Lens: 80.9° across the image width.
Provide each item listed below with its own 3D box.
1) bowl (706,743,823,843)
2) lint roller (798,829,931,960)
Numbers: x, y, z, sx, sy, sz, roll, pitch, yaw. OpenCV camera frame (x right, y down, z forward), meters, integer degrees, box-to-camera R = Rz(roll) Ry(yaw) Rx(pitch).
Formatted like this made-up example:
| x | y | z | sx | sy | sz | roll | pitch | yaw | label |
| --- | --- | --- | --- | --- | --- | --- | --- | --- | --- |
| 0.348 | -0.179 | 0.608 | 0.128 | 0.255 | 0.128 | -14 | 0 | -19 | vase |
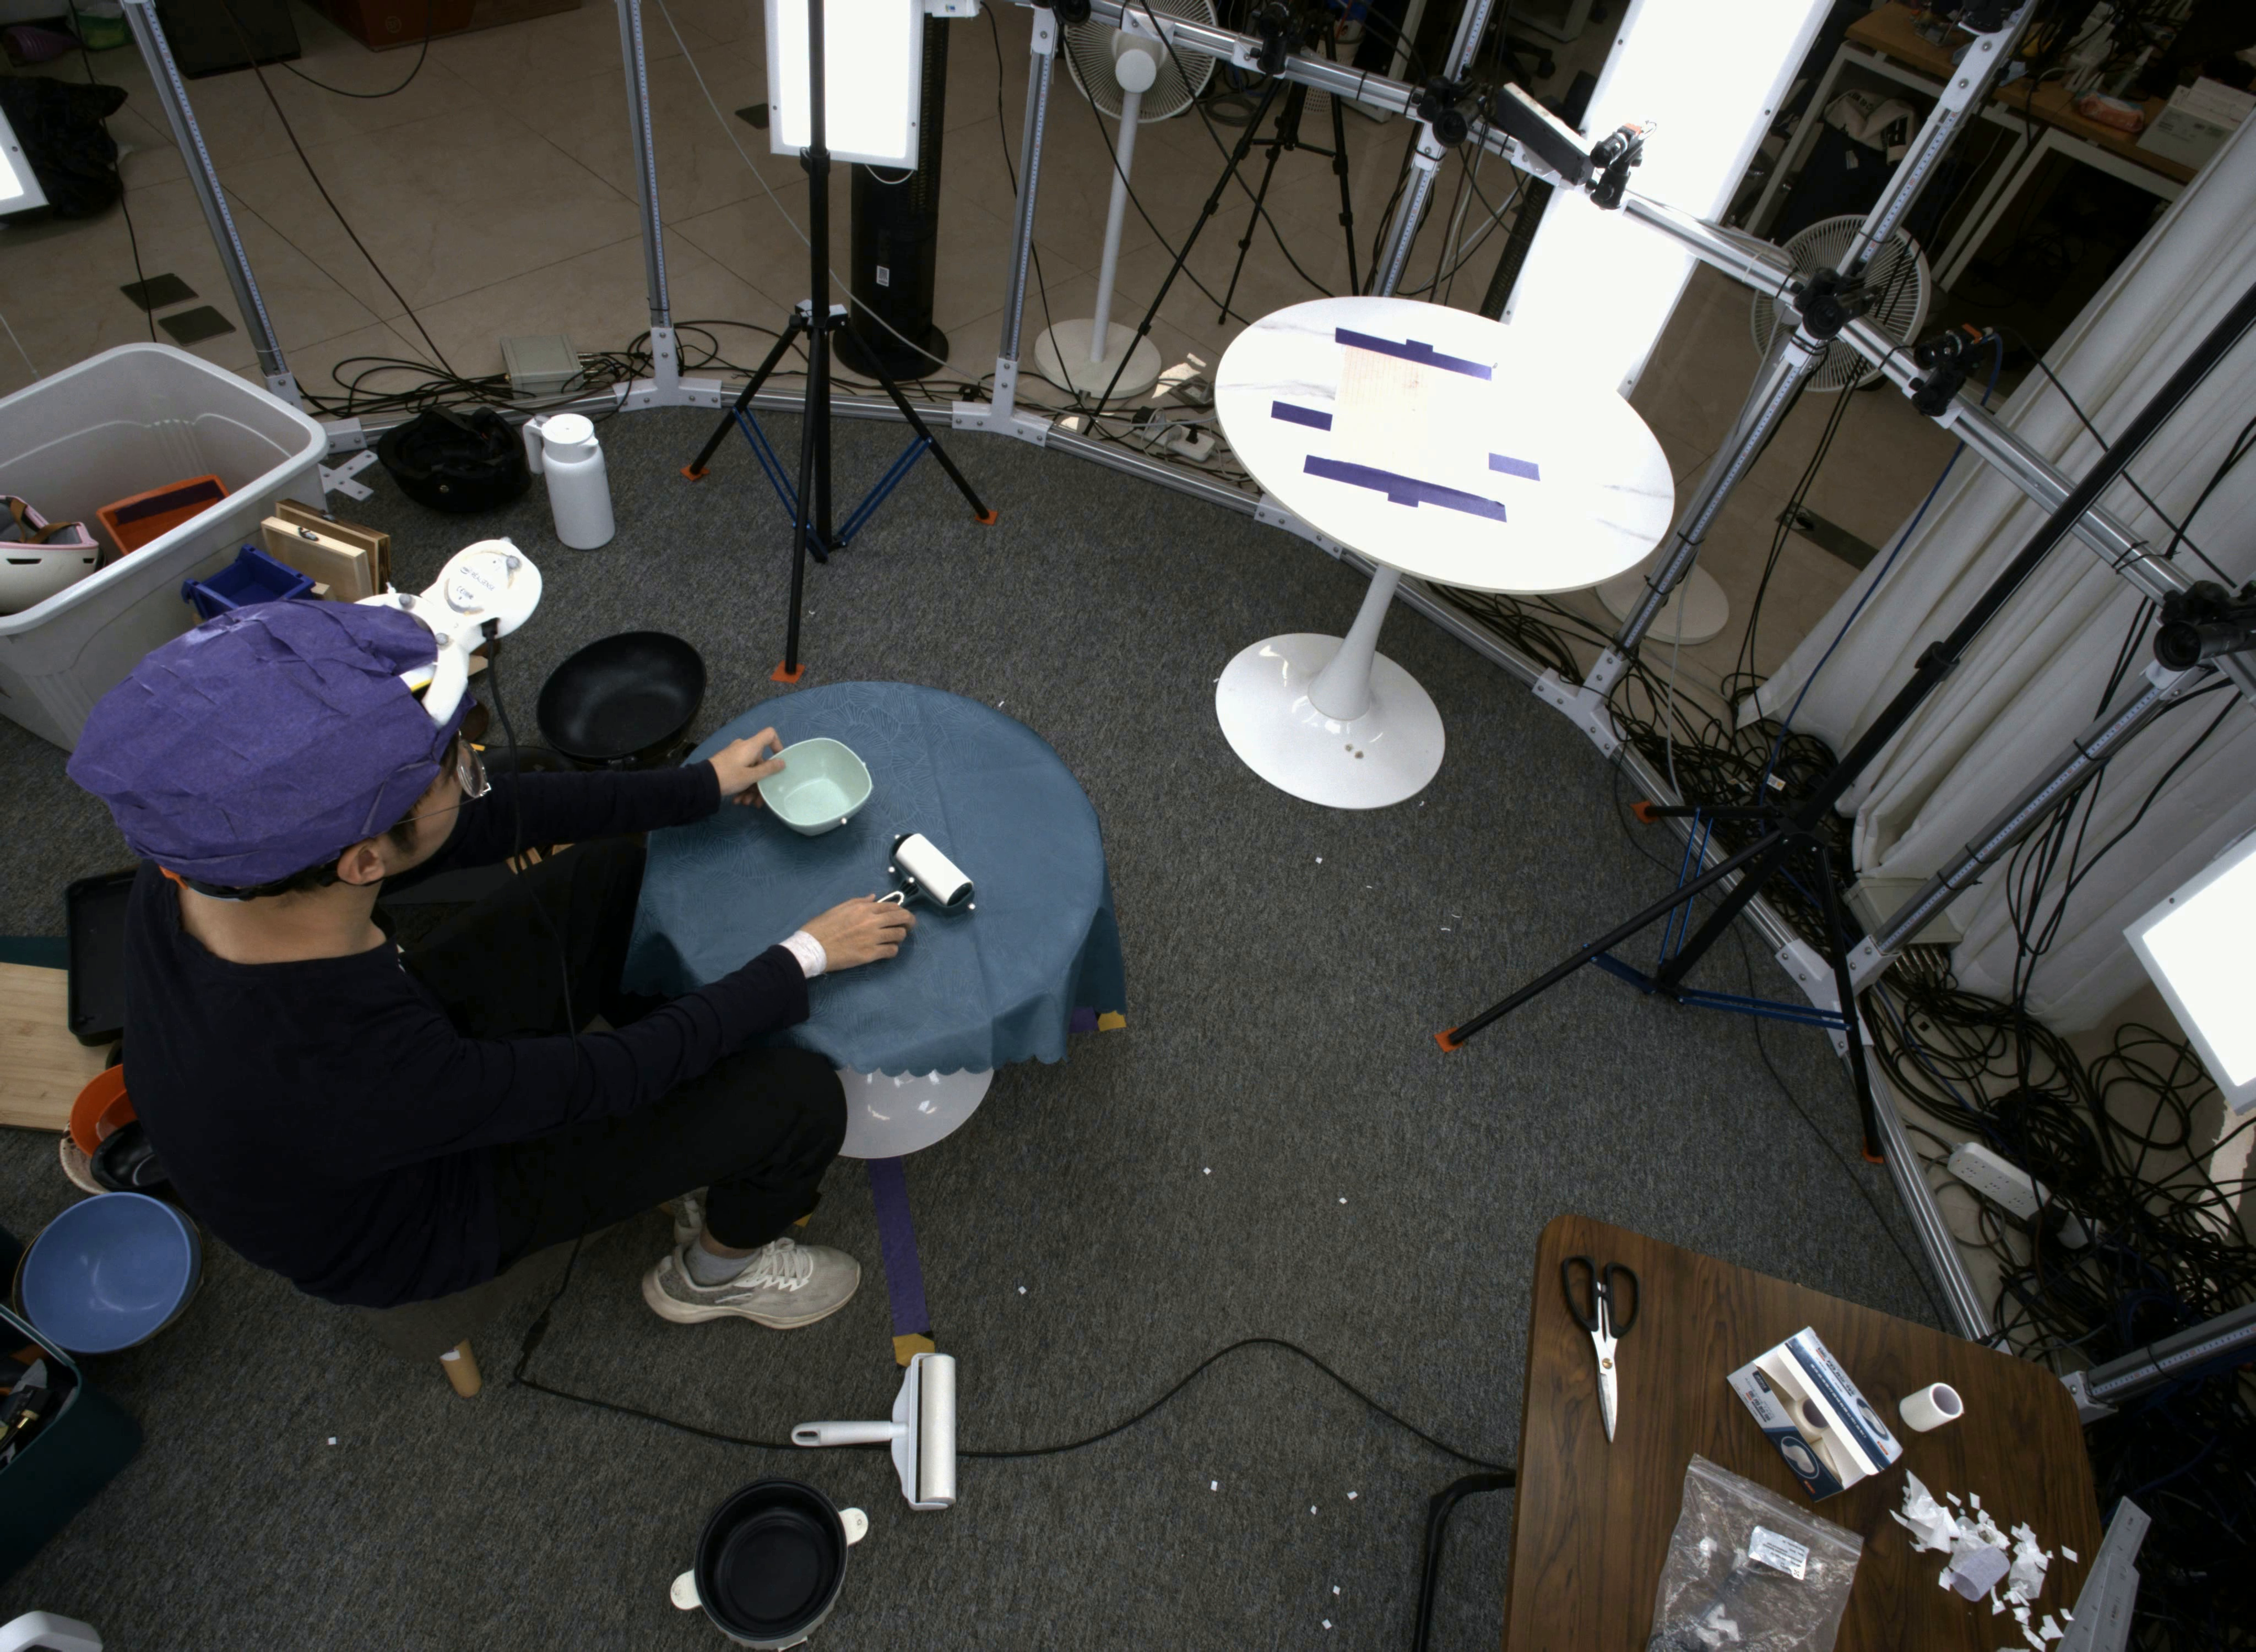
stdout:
| x | y | z | sx | sy | sz | roll | pitch | yaw | label |
| --- | --- | --- | --- | --- | --- | --- | --- | --- | --- |
| -0.477 | -0.035 | 1.706 | 0.151 | 0.060 | 0.149 | 8 | 51 | -8 | bowl |
| -0.353 | 0.098 | 1.655 | 0.131 | 0.049 | 0.180 | 38 | 58 | 15 | lint roller |
